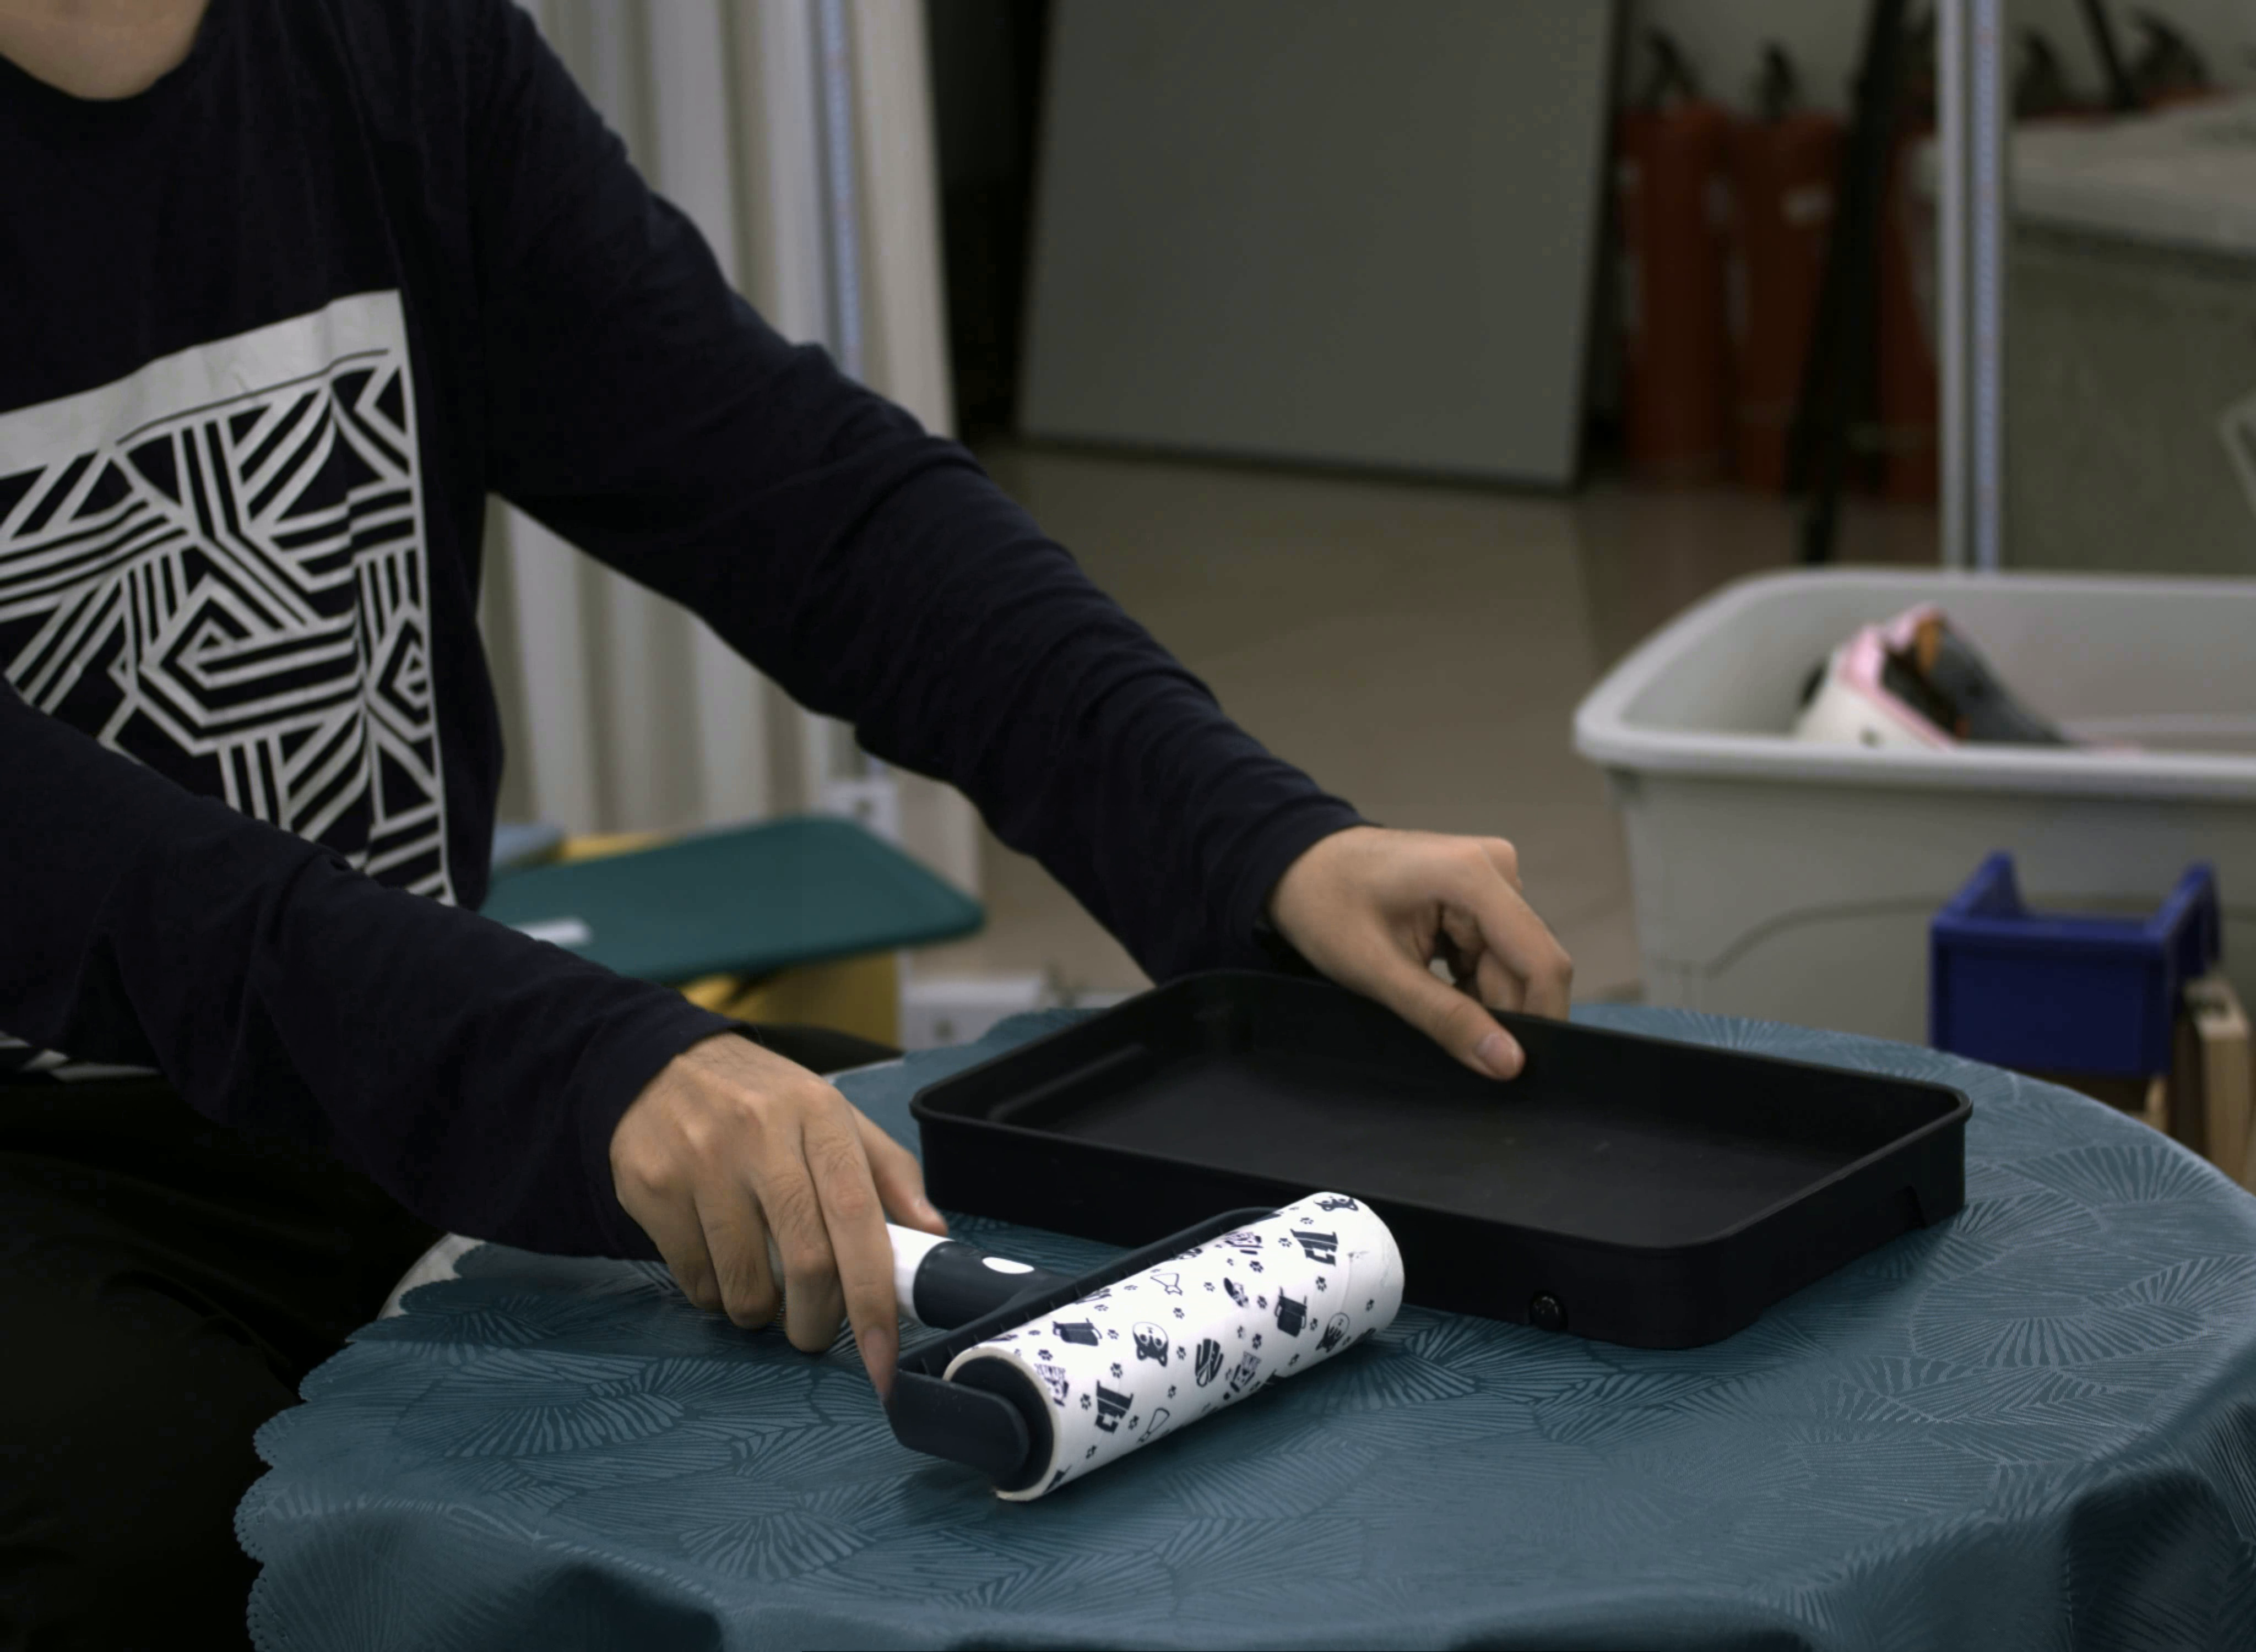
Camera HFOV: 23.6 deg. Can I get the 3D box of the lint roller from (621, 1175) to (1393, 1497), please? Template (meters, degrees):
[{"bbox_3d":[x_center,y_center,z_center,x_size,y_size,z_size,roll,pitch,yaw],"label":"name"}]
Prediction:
[{"bbox_3d":[-0.064,0.137,1.621,0.249,0.051,0.173,8,19,40],"label":"lint roller"}]

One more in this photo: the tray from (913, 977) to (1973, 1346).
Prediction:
[{"bbox_3d":[0.099,0.104,1.740,0.320,0.037,0.181,7,18,39],"label":"tray"}]
